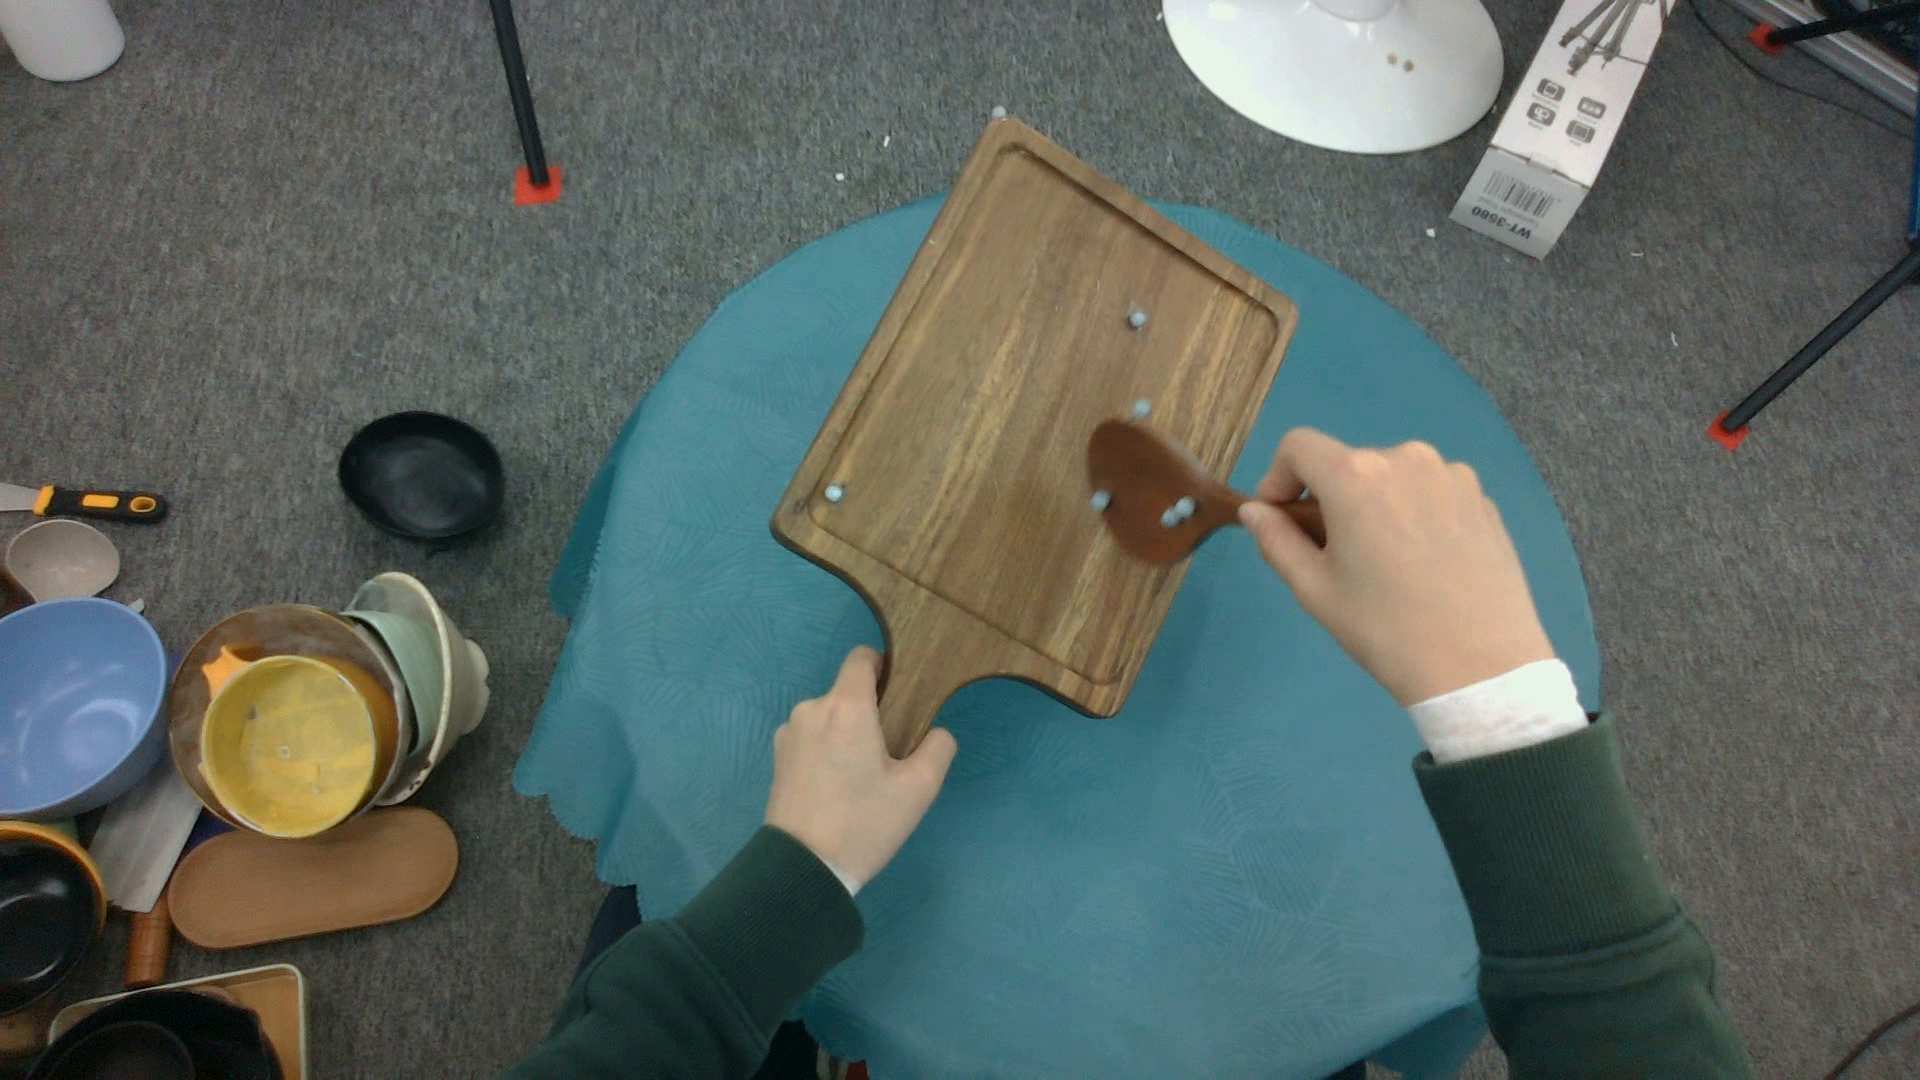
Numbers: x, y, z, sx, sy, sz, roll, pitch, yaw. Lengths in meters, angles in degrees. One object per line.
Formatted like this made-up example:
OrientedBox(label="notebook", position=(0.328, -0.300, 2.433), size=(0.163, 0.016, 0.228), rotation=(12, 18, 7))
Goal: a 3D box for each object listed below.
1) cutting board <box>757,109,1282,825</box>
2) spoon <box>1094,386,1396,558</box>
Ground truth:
OrientedBox(label="cutting board", position=(0.018, -0.024, 0.680), size=(0.201, 0.023, 0.353), rotation=(30, 74, -13))
OrientedBox(label="spoon", position=(0.107, -0.022, 0.565), size=(0.017, 0.216, 0.075), rotation=(-11, 103, -18))
